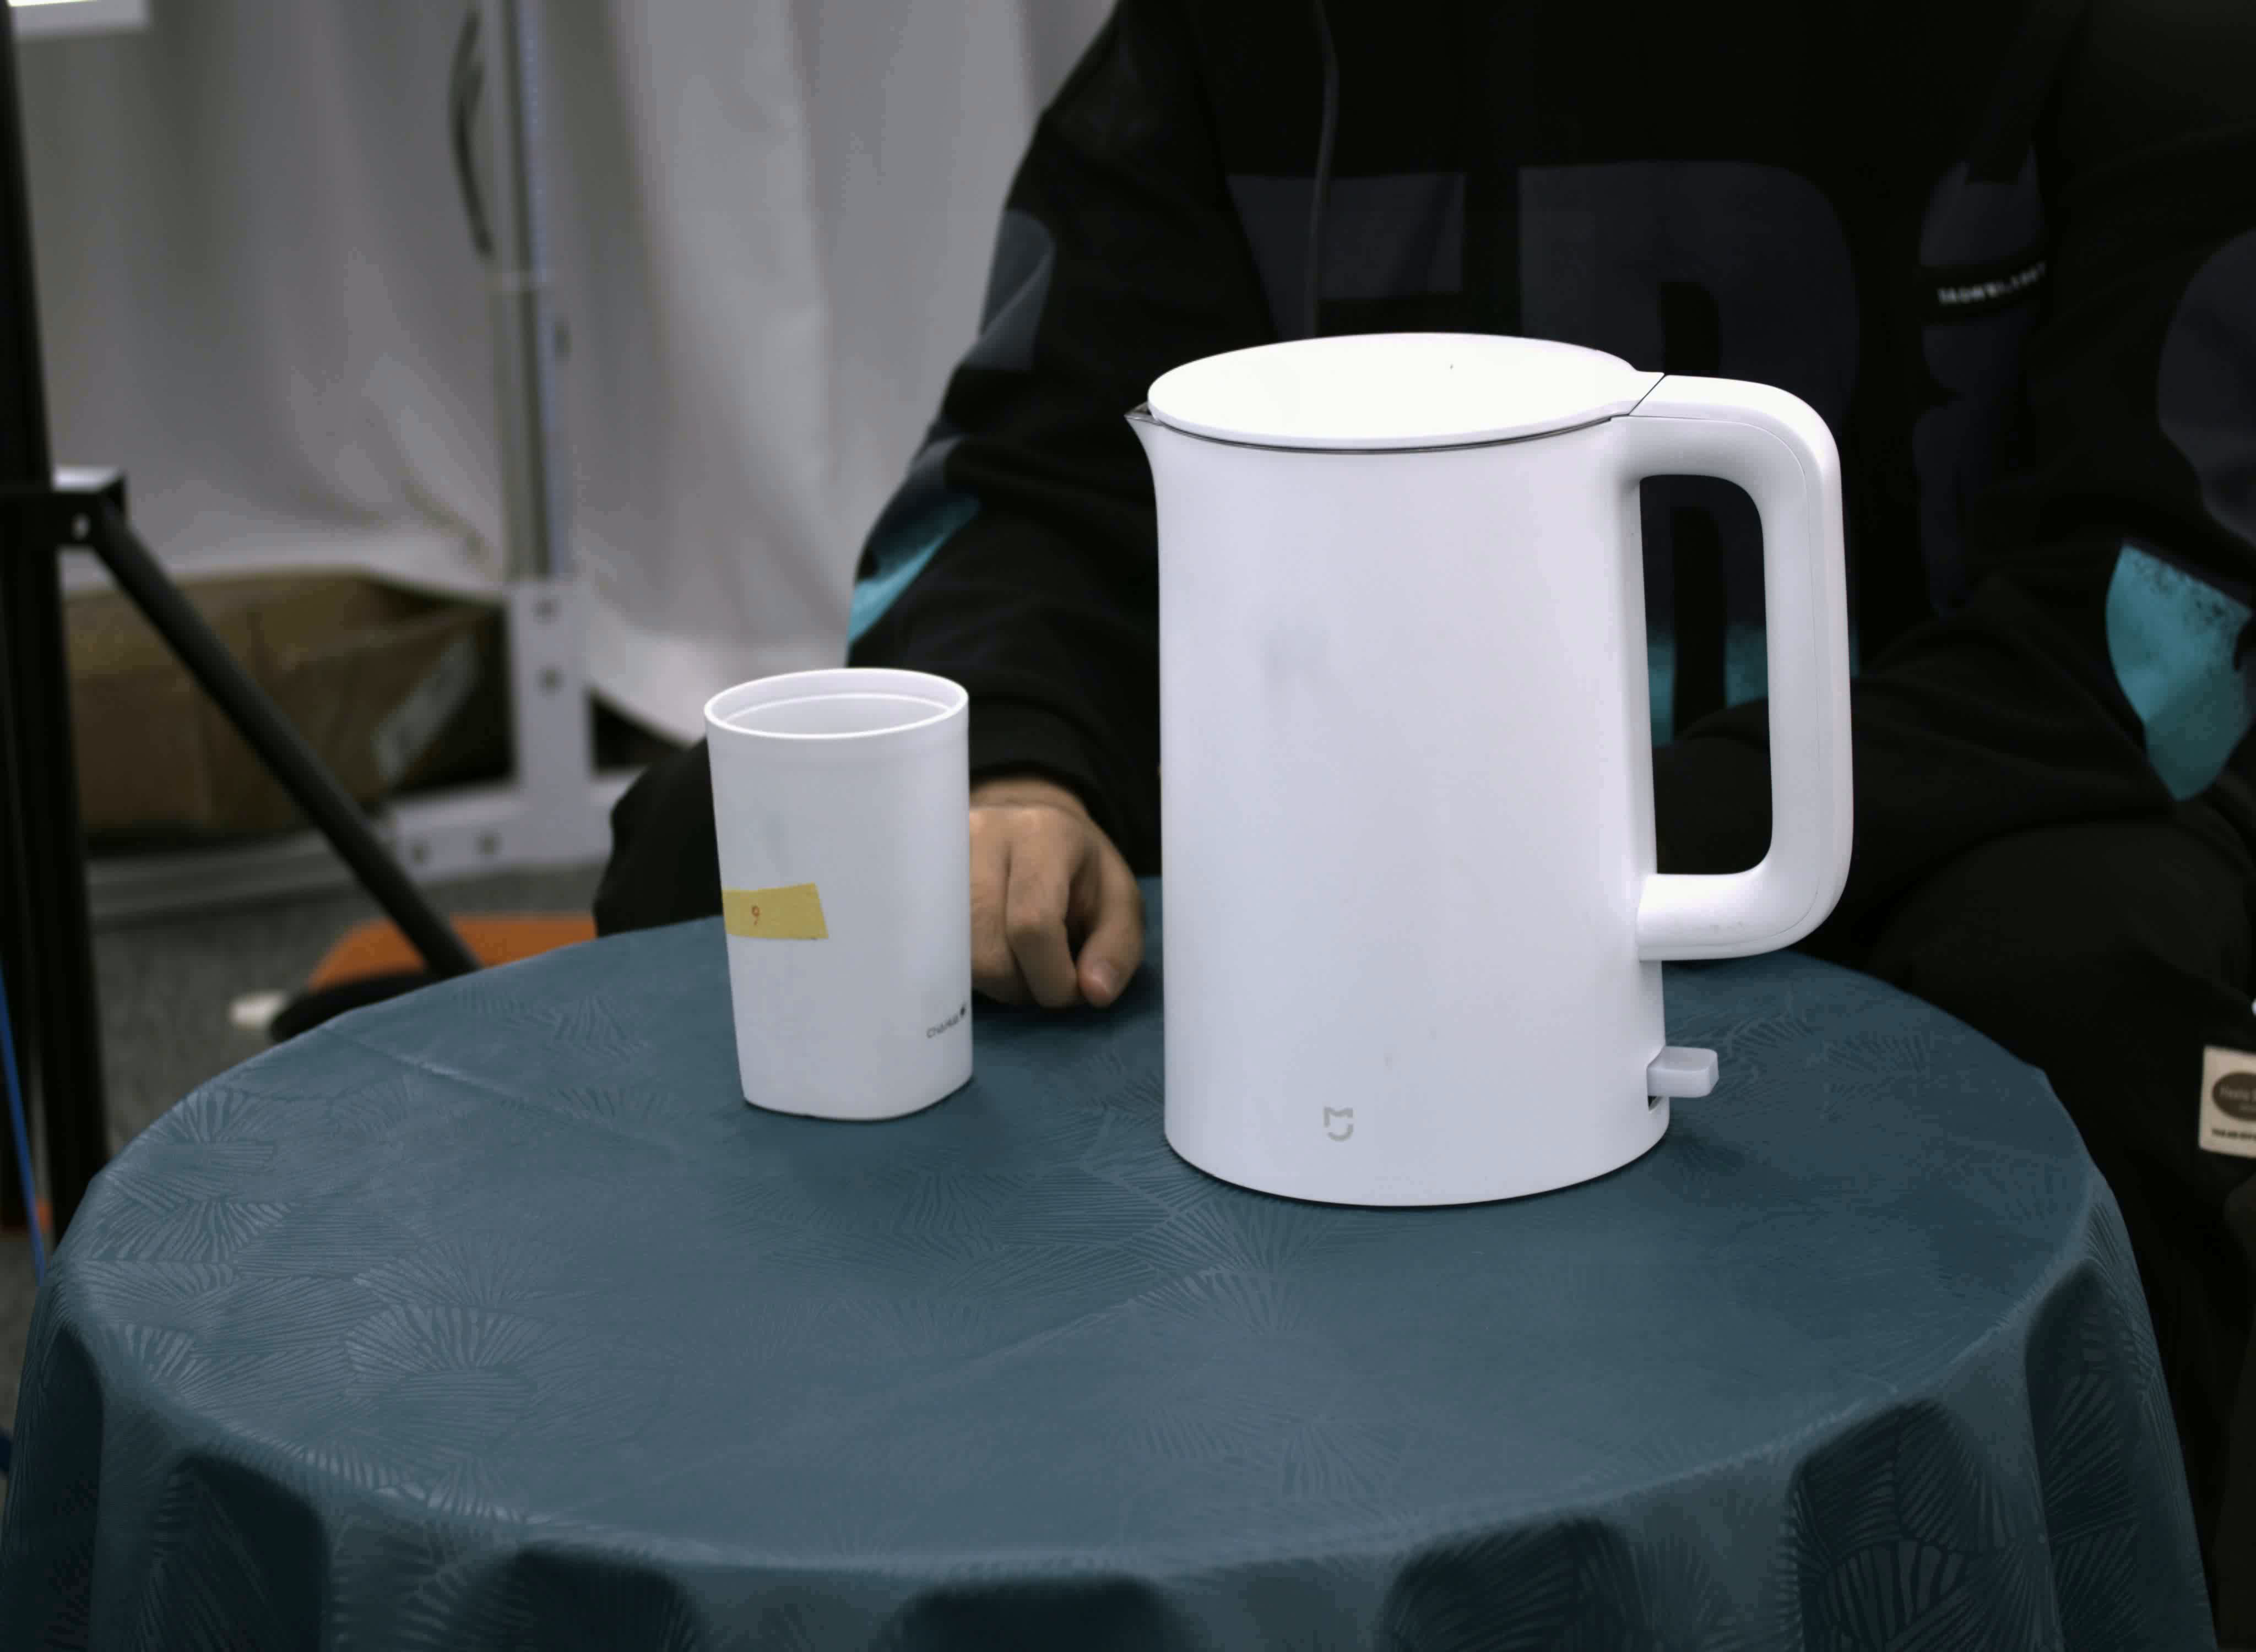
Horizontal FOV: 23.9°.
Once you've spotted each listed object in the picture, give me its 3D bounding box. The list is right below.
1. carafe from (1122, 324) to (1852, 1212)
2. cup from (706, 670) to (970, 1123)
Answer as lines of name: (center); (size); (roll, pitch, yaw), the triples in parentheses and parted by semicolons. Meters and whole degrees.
carafe: (0.106, -0.018, 1.561); (0.215, 0.240, 0.150); (2, 17, 19)
cup: (-0.087, 0.022, 1.648); (0.081, 0.125, 0.082); (-2, 15, -1)
